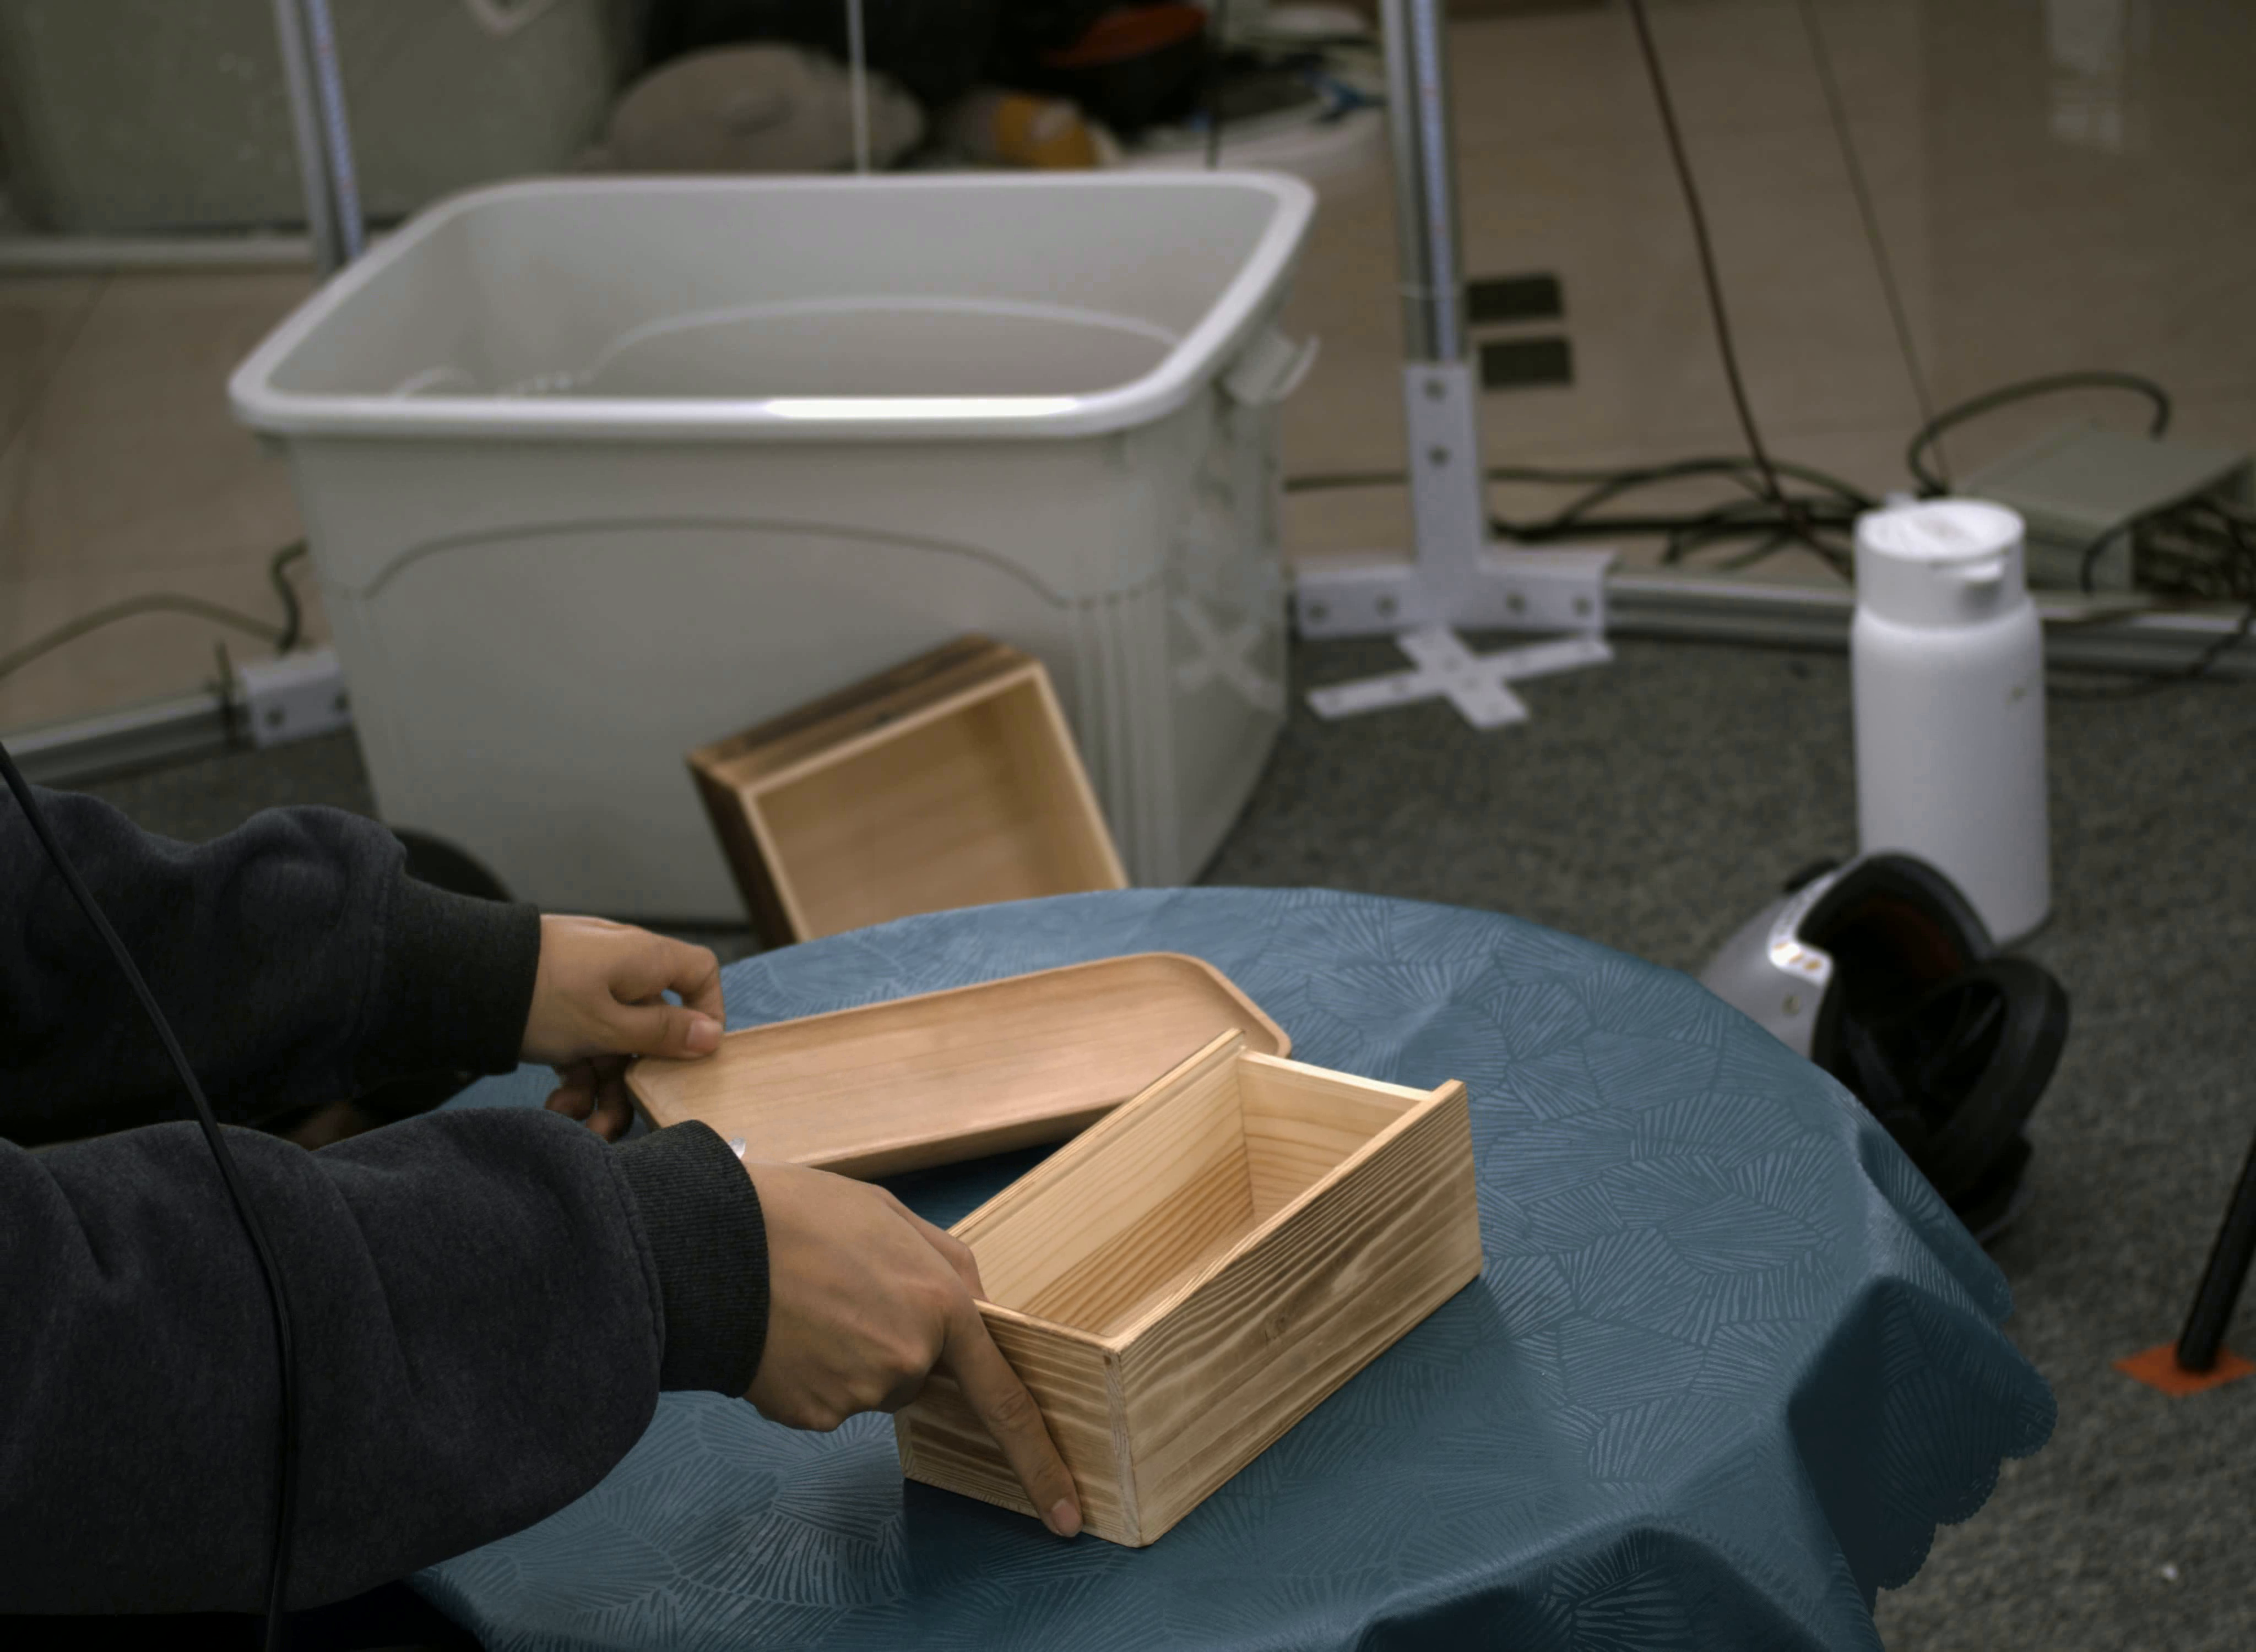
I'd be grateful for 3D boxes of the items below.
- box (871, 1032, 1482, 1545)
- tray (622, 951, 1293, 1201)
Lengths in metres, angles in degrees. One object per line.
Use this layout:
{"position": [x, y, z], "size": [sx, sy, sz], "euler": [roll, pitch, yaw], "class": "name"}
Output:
{"position": [0.020, 0.159, 2.002], "size": [0.107, 0.081, 0.209], "euler": [13, 31, 36], "class": "box"}
{"position": [-0.066, 0.097, 2.210], "size": [0.250, 0.023, 0.129], "euler": [-11, 22, -20], "class": "tray"}
